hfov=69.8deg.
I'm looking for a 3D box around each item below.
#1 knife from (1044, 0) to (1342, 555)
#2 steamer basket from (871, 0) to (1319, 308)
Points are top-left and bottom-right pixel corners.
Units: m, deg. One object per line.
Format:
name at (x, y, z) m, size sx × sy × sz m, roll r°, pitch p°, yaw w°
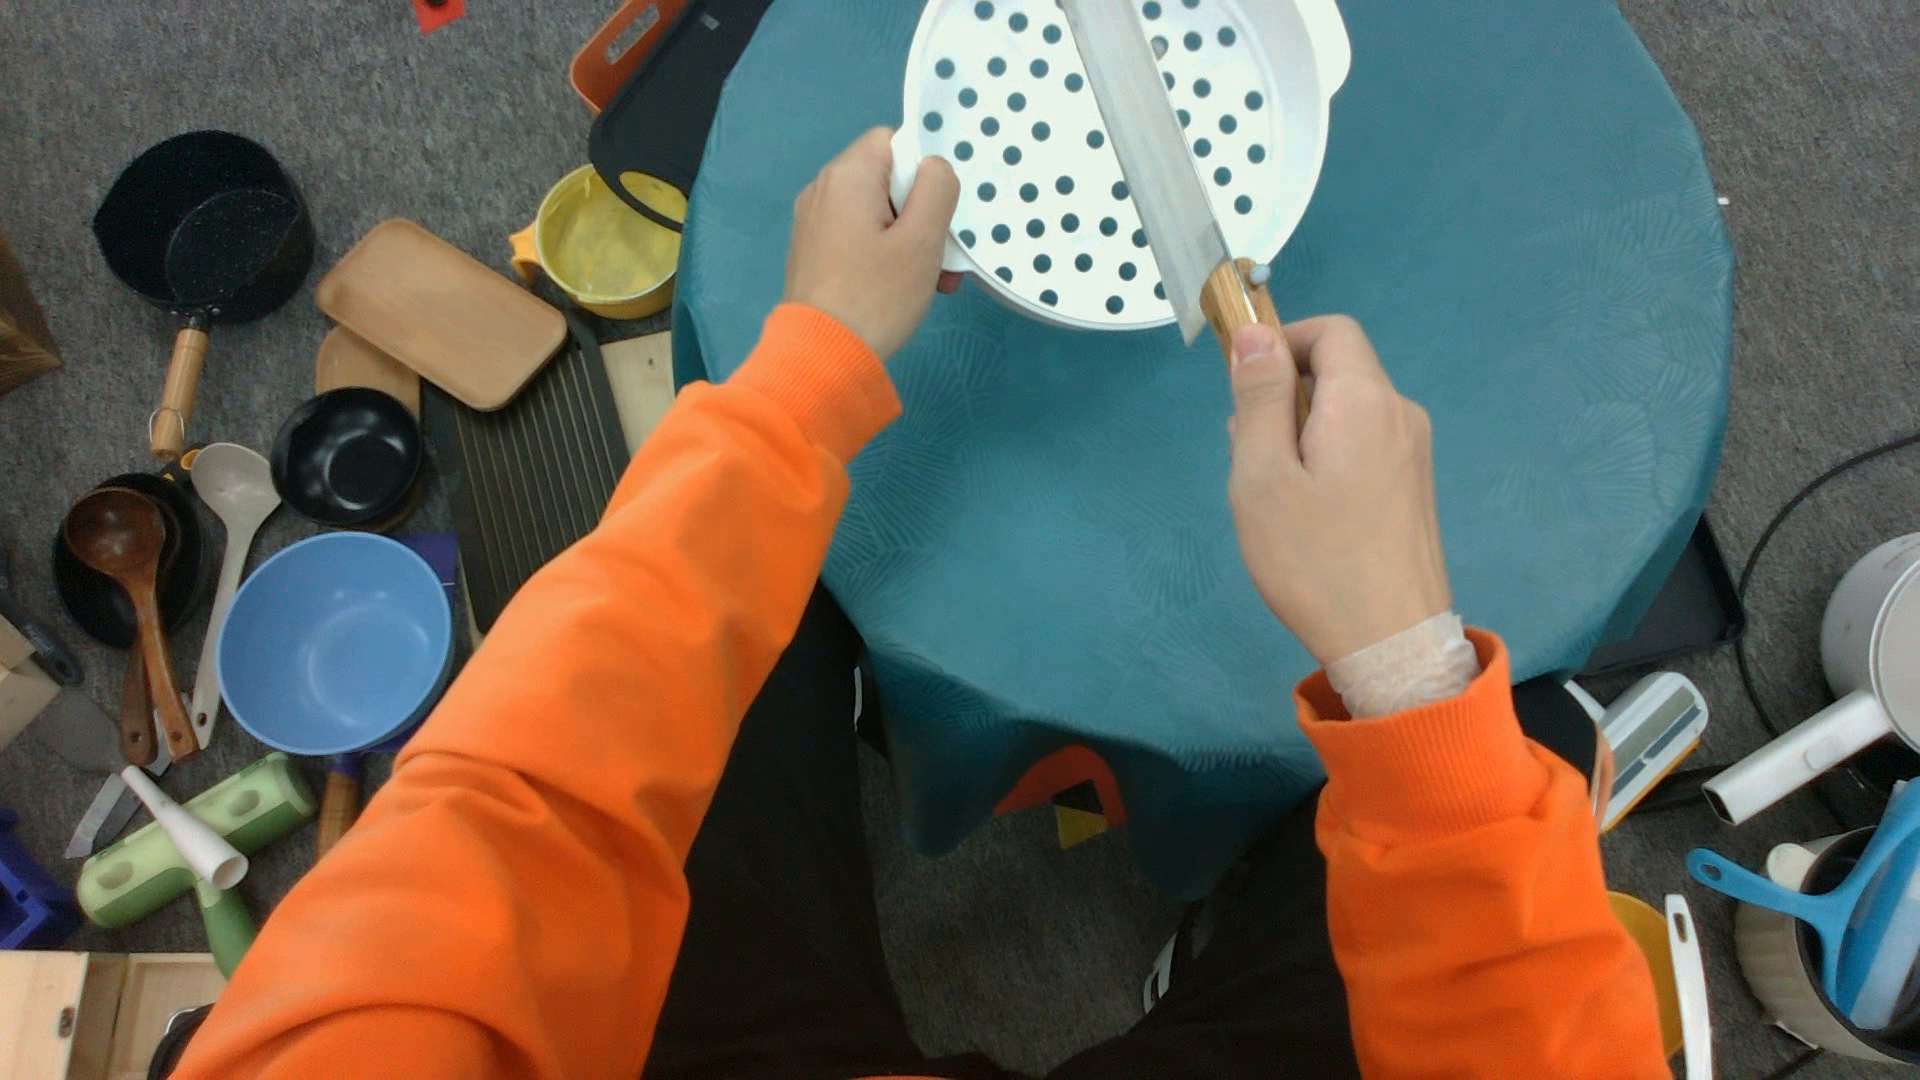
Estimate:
knife at (0.081, -0.135, 0.559) m, size 0.021 × 0.093 × 0.306 m, roll -19°, pitch 85°, yaw -7°
steamer basket at (0.064, -0.216, 0.684) m, size 0.231 × 0.069 × 0.202 m, roll -28°, pitch 95°, yaw -7°
